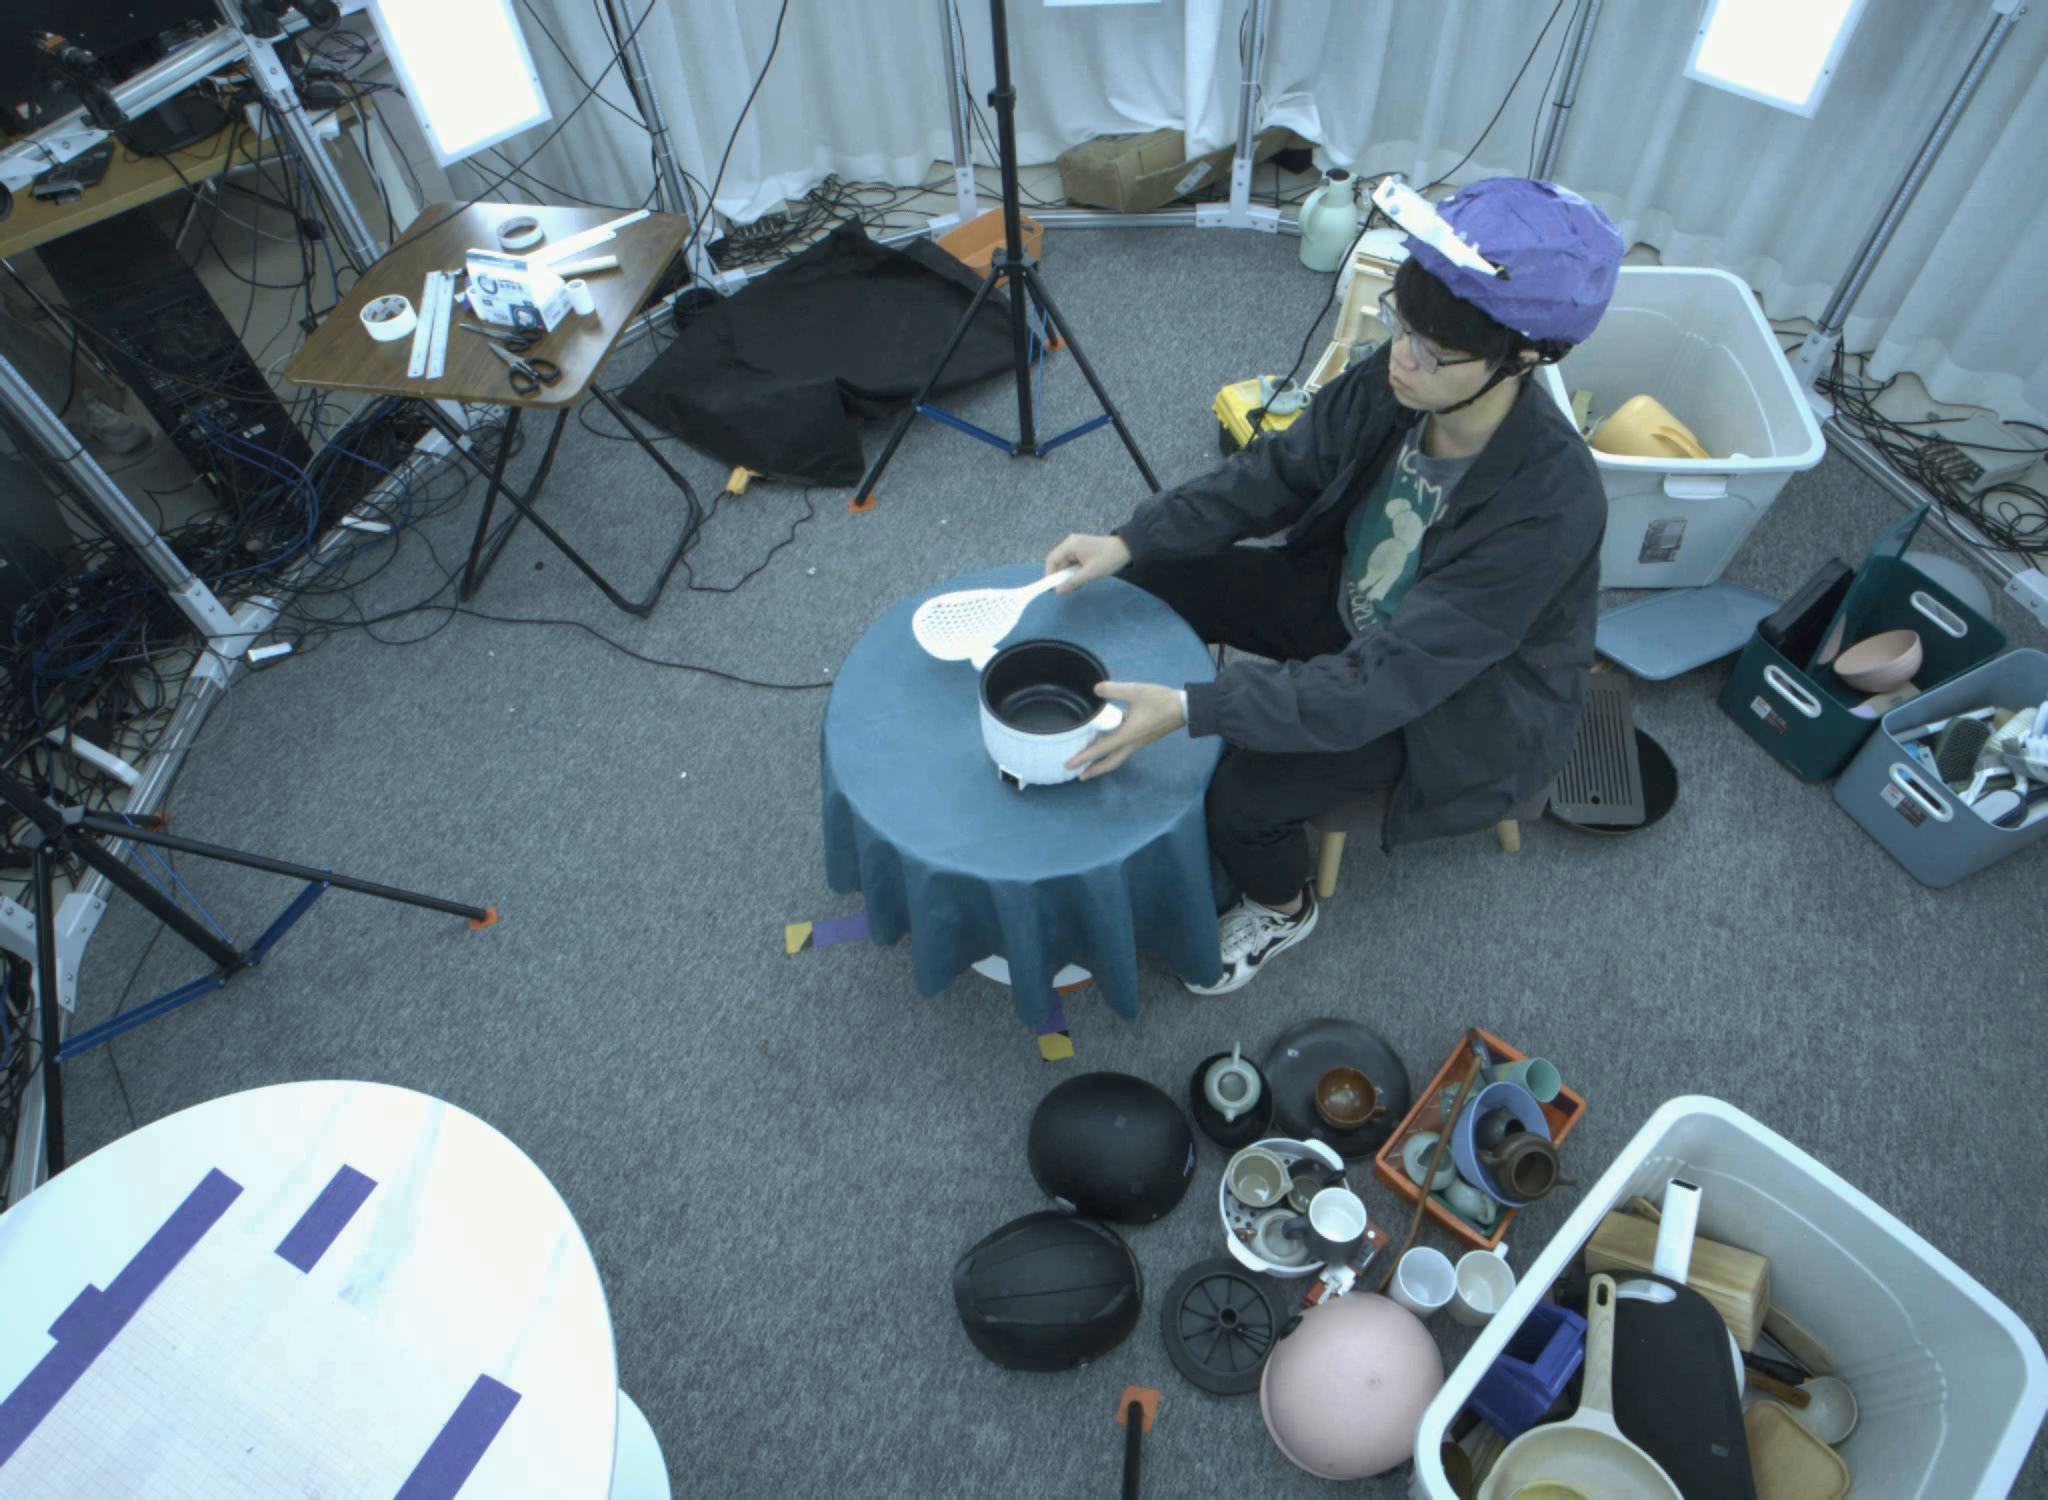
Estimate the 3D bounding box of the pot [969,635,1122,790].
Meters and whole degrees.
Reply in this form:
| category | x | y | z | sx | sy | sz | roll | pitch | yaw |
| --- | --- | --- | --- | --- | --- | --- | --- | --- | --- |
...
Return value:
| category | x | y | z | sx | sy | sz | roll | pitch | yaw |
| --- | --- | --- | --- | --- | --- | --- | --- | --- | --- |
| pot | 0.031 | -0.052 | 1.716 | 0.237 | 0.144 | 0.191 | 28 | 59 | 20 |

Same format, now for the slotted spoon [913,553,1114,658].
| category | x | y | z | sx | sy | sz | roll | pitch | yaw |
| --- | --- | --- | --- | --- | --- | --- | --- | --- | --- |
| slotted spoon | -0.004 | -0.231 | 1.862 | 0.350 | 0.051 | 0.134 | -30 | 57 | -17 |
